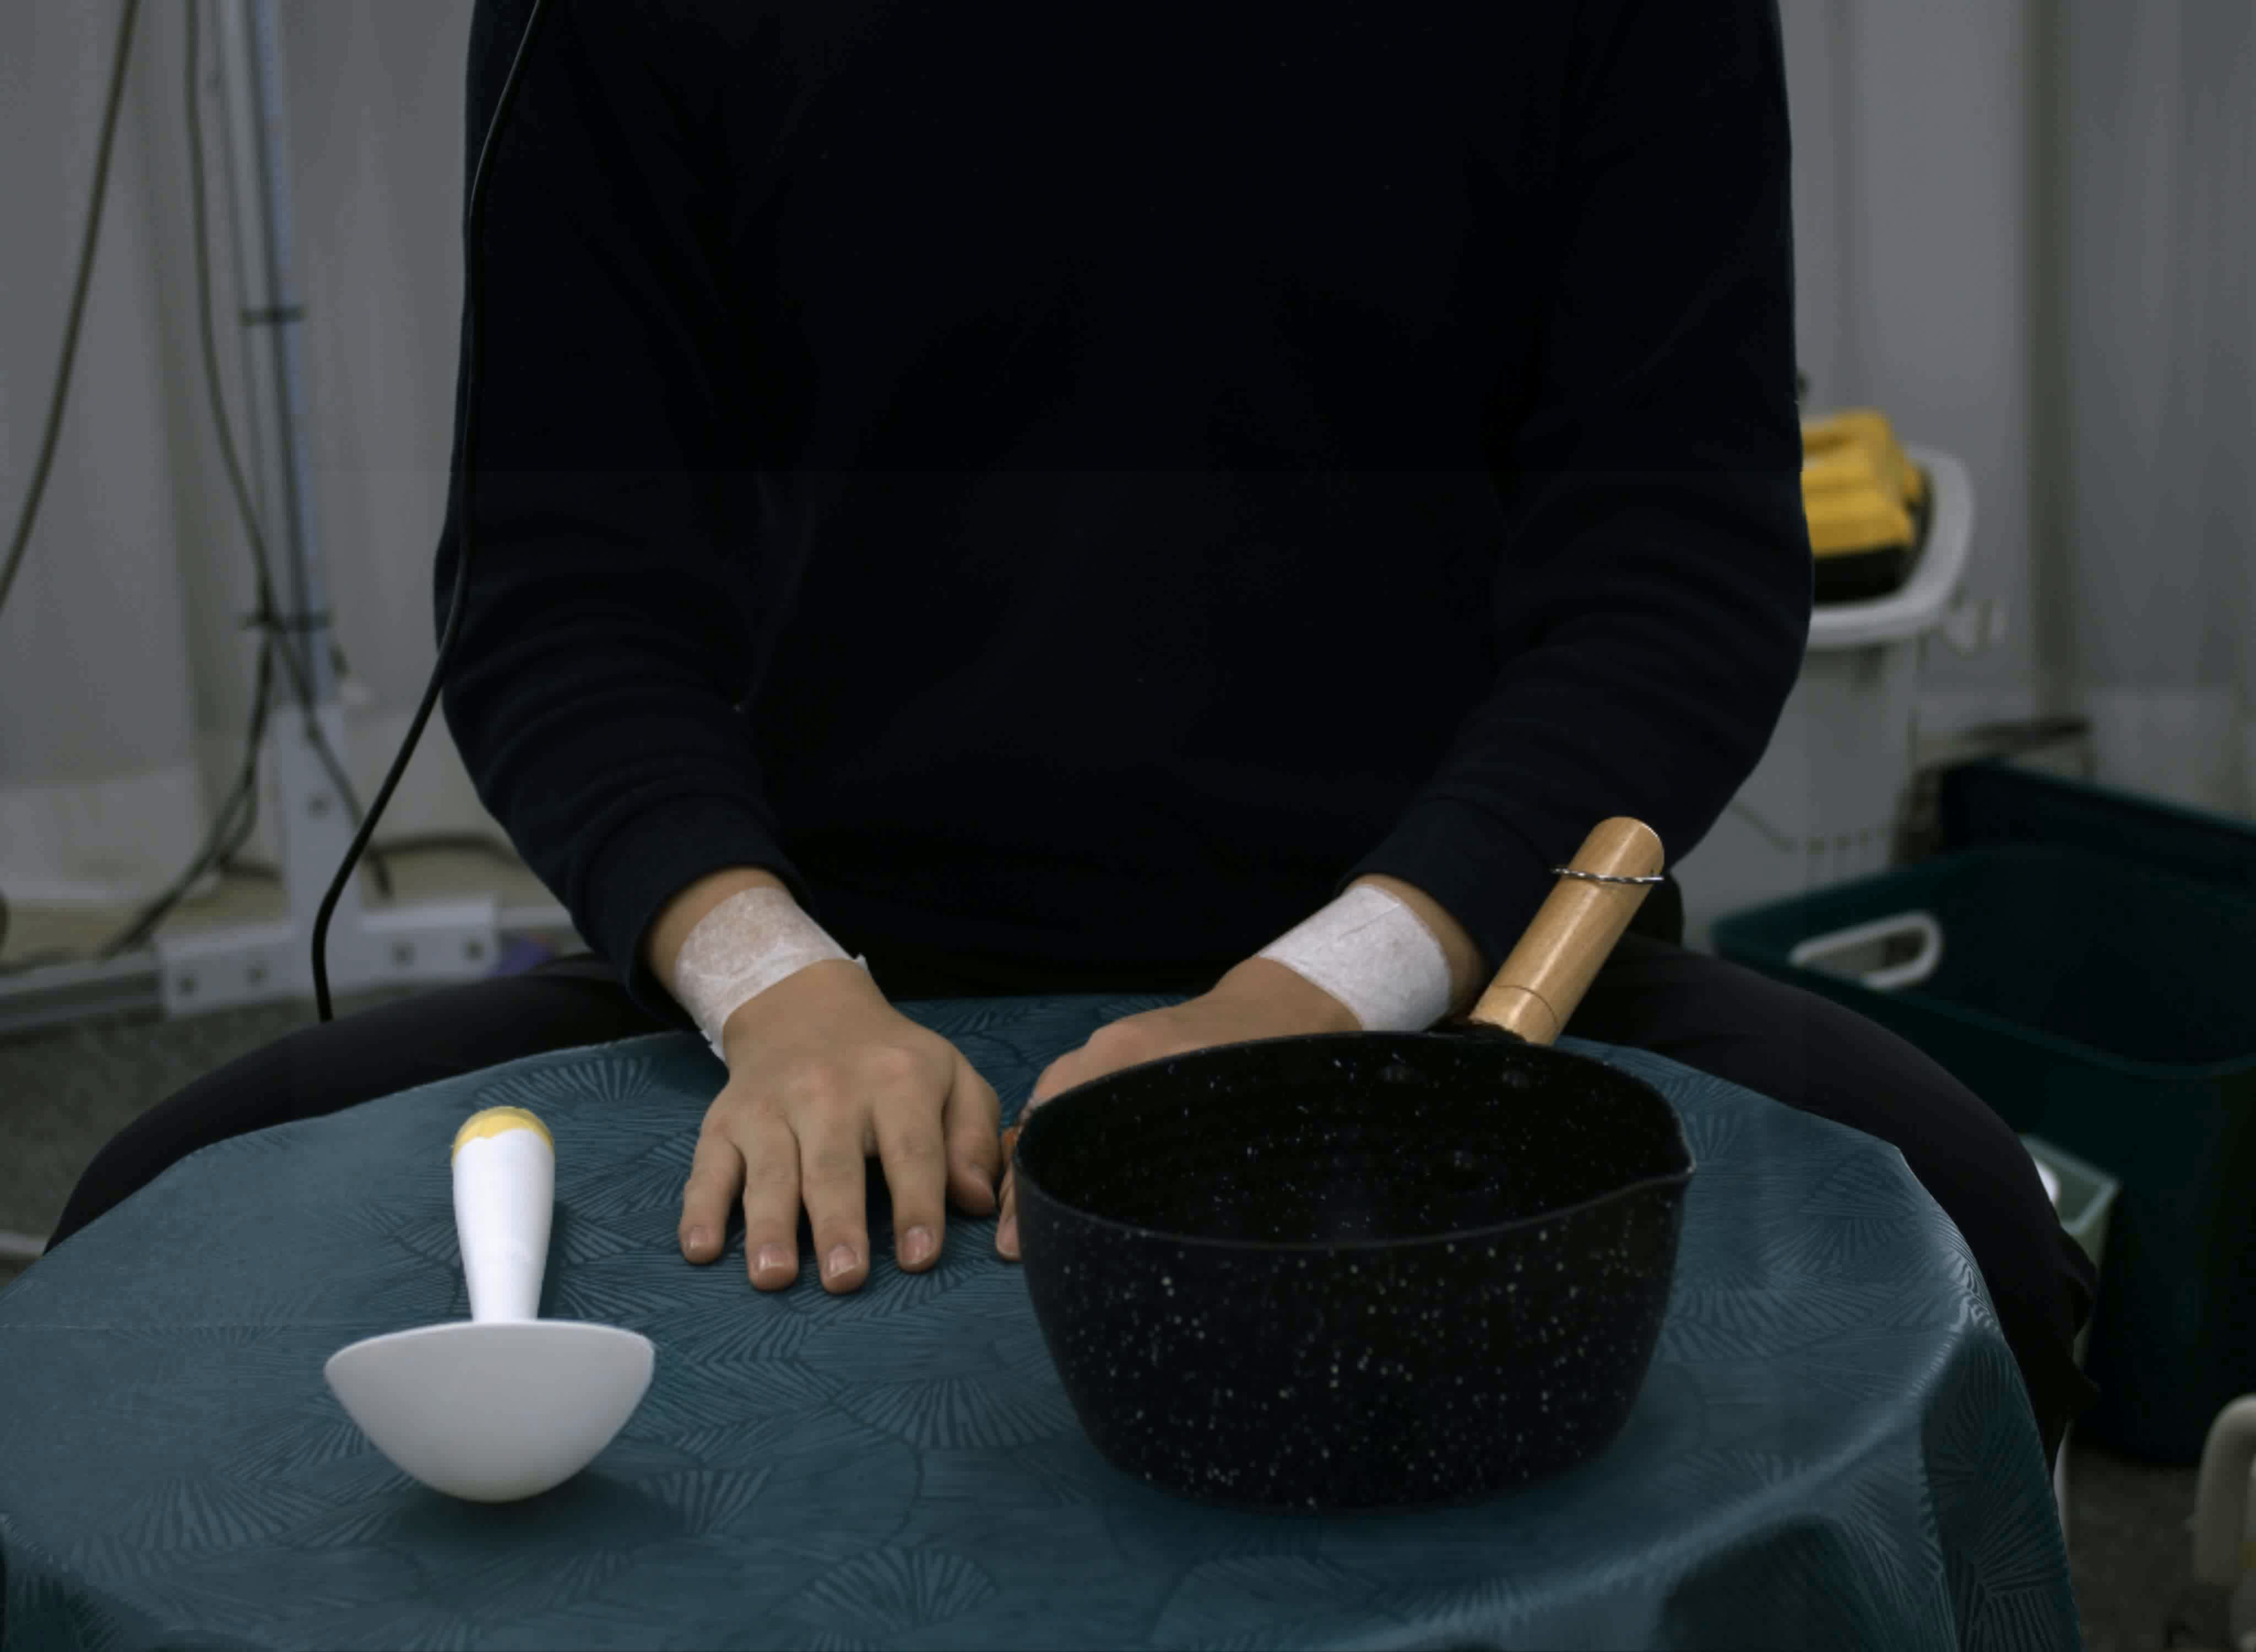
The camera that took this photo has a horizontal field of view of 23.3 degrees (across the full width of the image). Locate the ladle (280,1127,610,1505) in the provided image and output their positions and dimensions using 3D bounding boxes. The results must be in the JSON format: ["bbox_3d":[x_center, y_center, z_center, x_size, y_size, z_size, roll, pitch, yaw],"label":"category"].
[{"bbox_3d":[-0.190,0.127,1.586,0.090,0.069,0.295,-11,14,-2],"label":"ladle"}]

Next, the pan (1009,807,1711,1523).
[{"bbox_3d":[0.091,0.092,1.574,0.207,0.108,0.344,2,17,23],"label":"pan"}]
